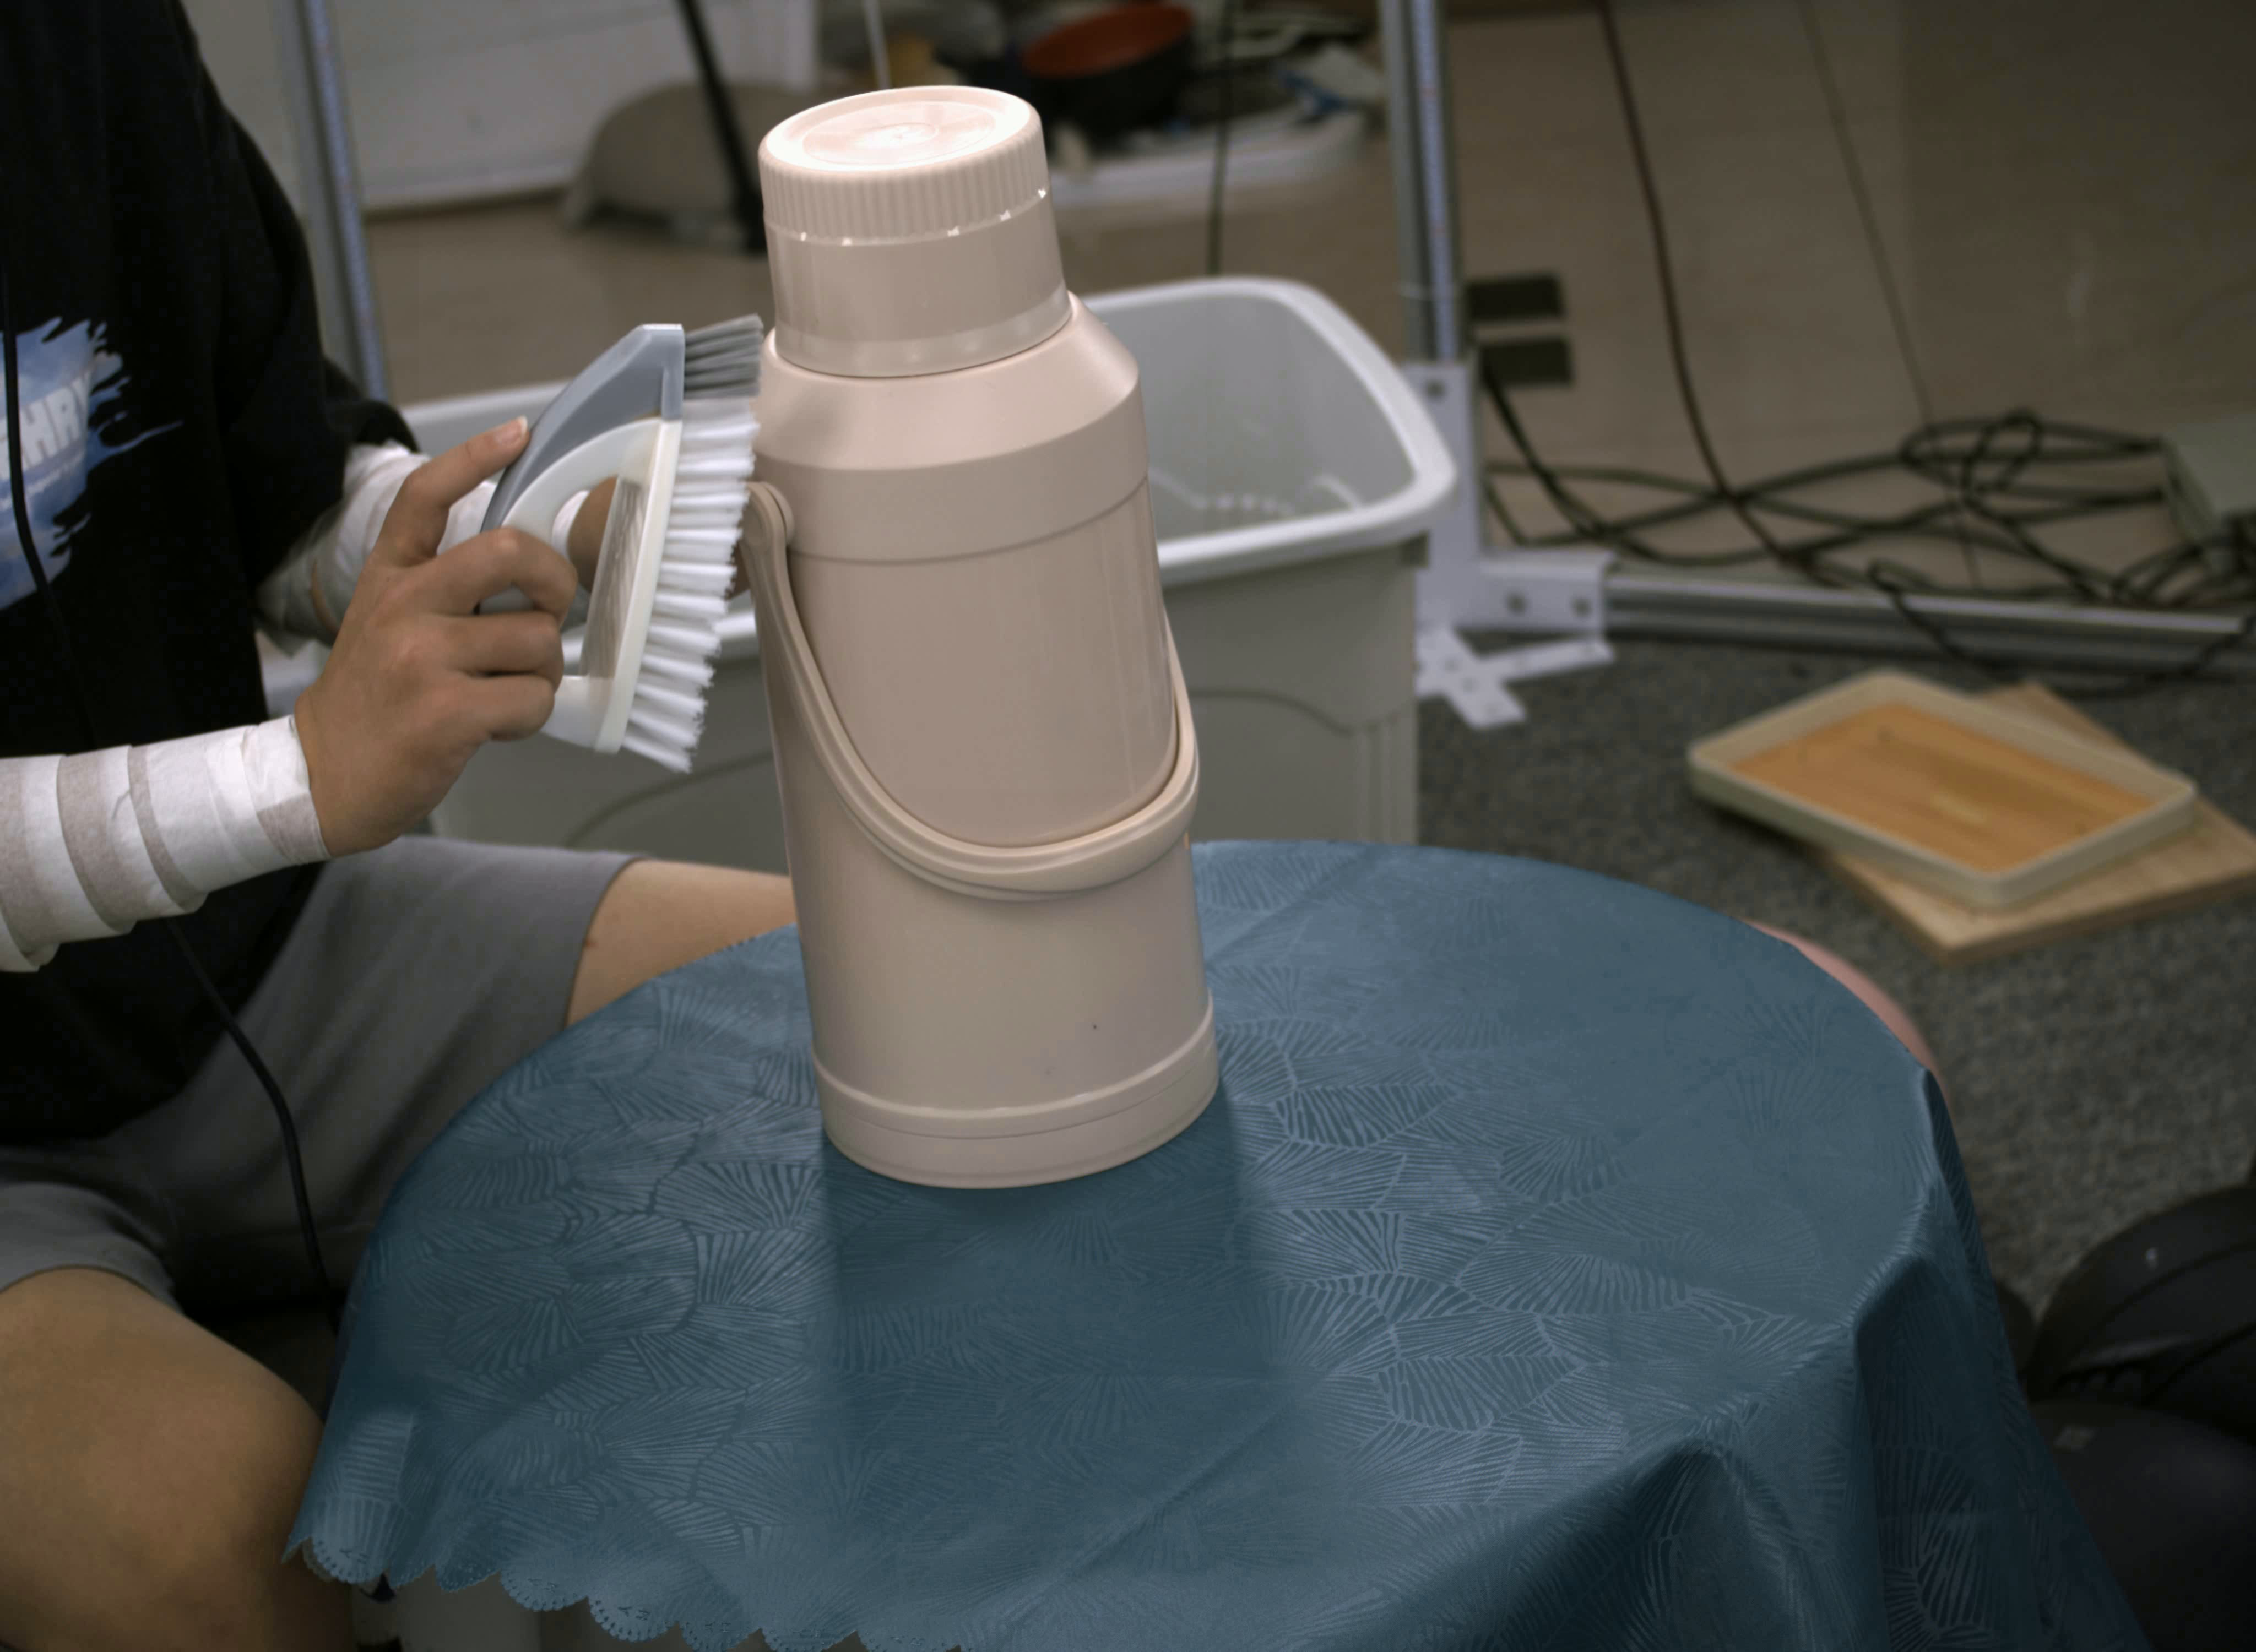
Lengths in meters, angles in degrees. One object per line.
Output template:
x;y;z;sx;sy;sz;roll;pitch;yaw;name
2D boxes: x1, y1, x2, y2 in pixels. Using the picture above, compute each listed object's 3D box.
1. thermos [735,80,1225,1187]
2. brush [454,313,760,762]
-0.070;-0.078;2.155;0.174;0.413;0.205;-26;31;-32;thermos
-0.191;-0.111;2.050;0.094;0.178;0.060;4;30;-24;brush
